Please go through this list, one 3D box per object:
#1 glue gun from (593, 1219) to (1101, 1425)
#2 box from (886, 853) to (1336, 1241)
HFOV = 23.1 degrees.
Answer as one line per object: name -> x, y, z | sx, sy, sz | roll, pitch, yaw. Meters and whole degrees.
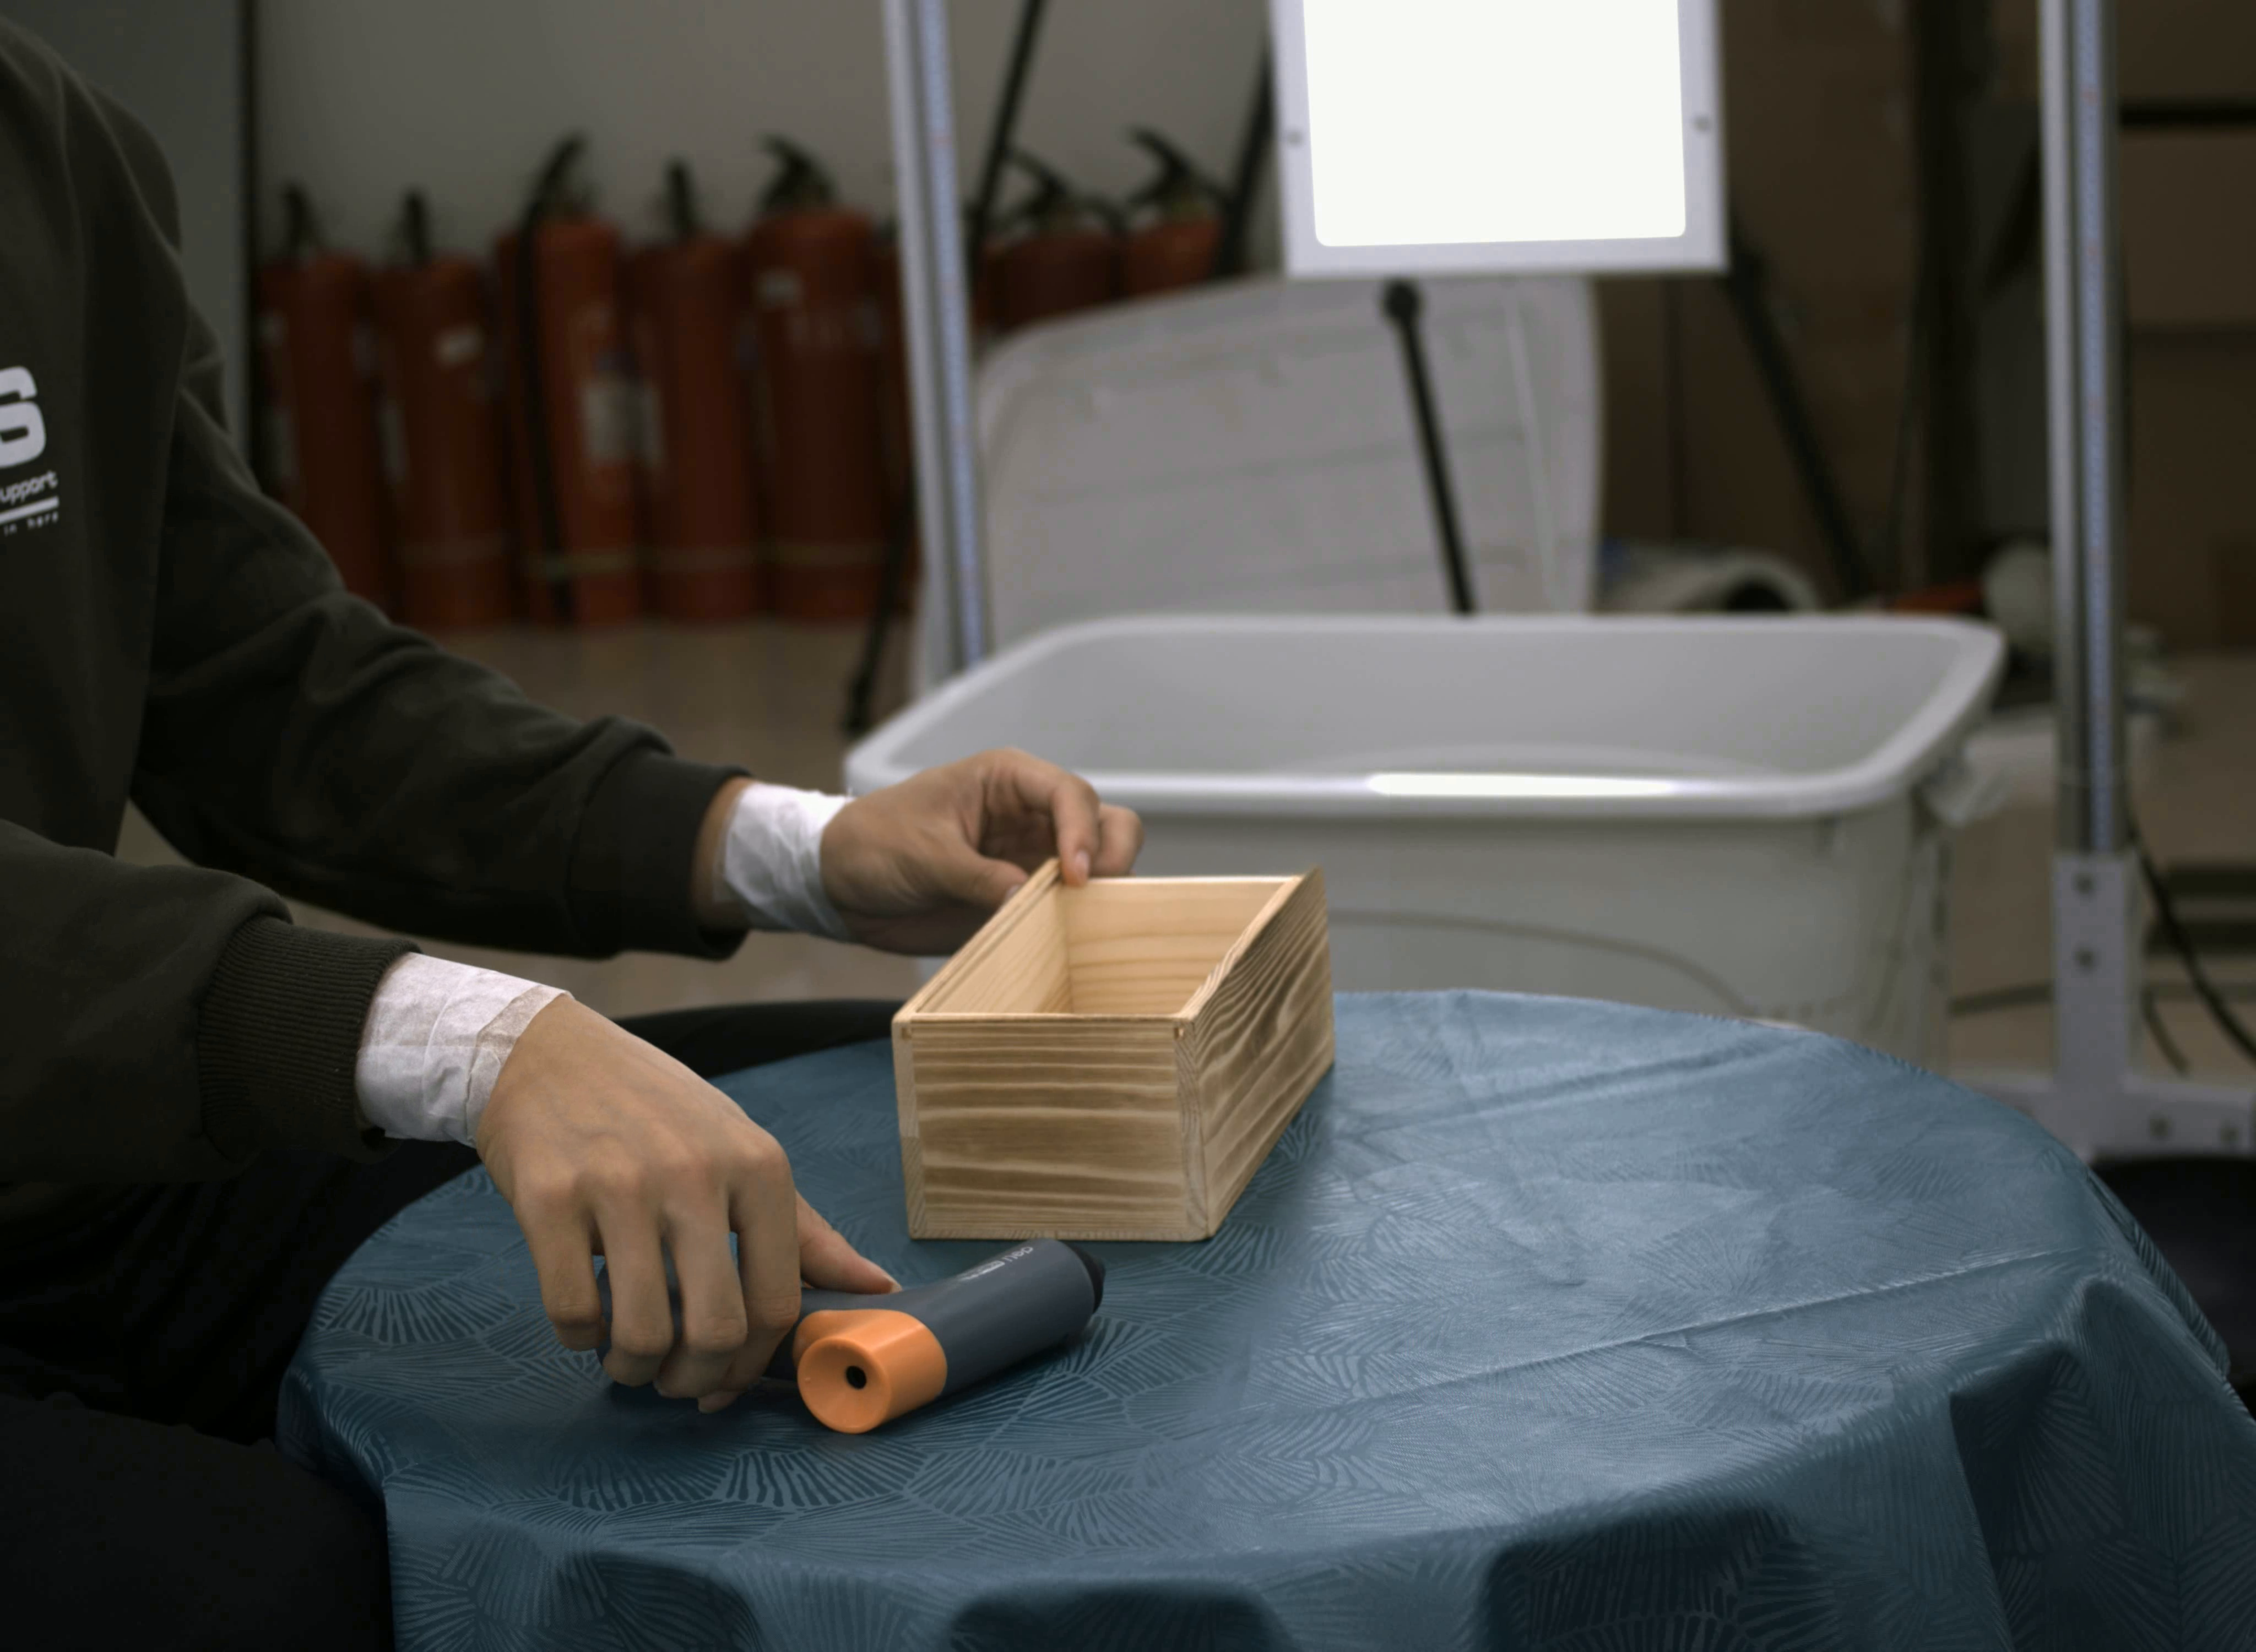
glue gun -> -0.088, 0.155, 1.748 | 0.142, 0.041, 0.115 | 5, 12, 25
box -> -0.002, 0.076, 1.941 | 0.108, 0.080, 0.208 | -2, 14, 15
